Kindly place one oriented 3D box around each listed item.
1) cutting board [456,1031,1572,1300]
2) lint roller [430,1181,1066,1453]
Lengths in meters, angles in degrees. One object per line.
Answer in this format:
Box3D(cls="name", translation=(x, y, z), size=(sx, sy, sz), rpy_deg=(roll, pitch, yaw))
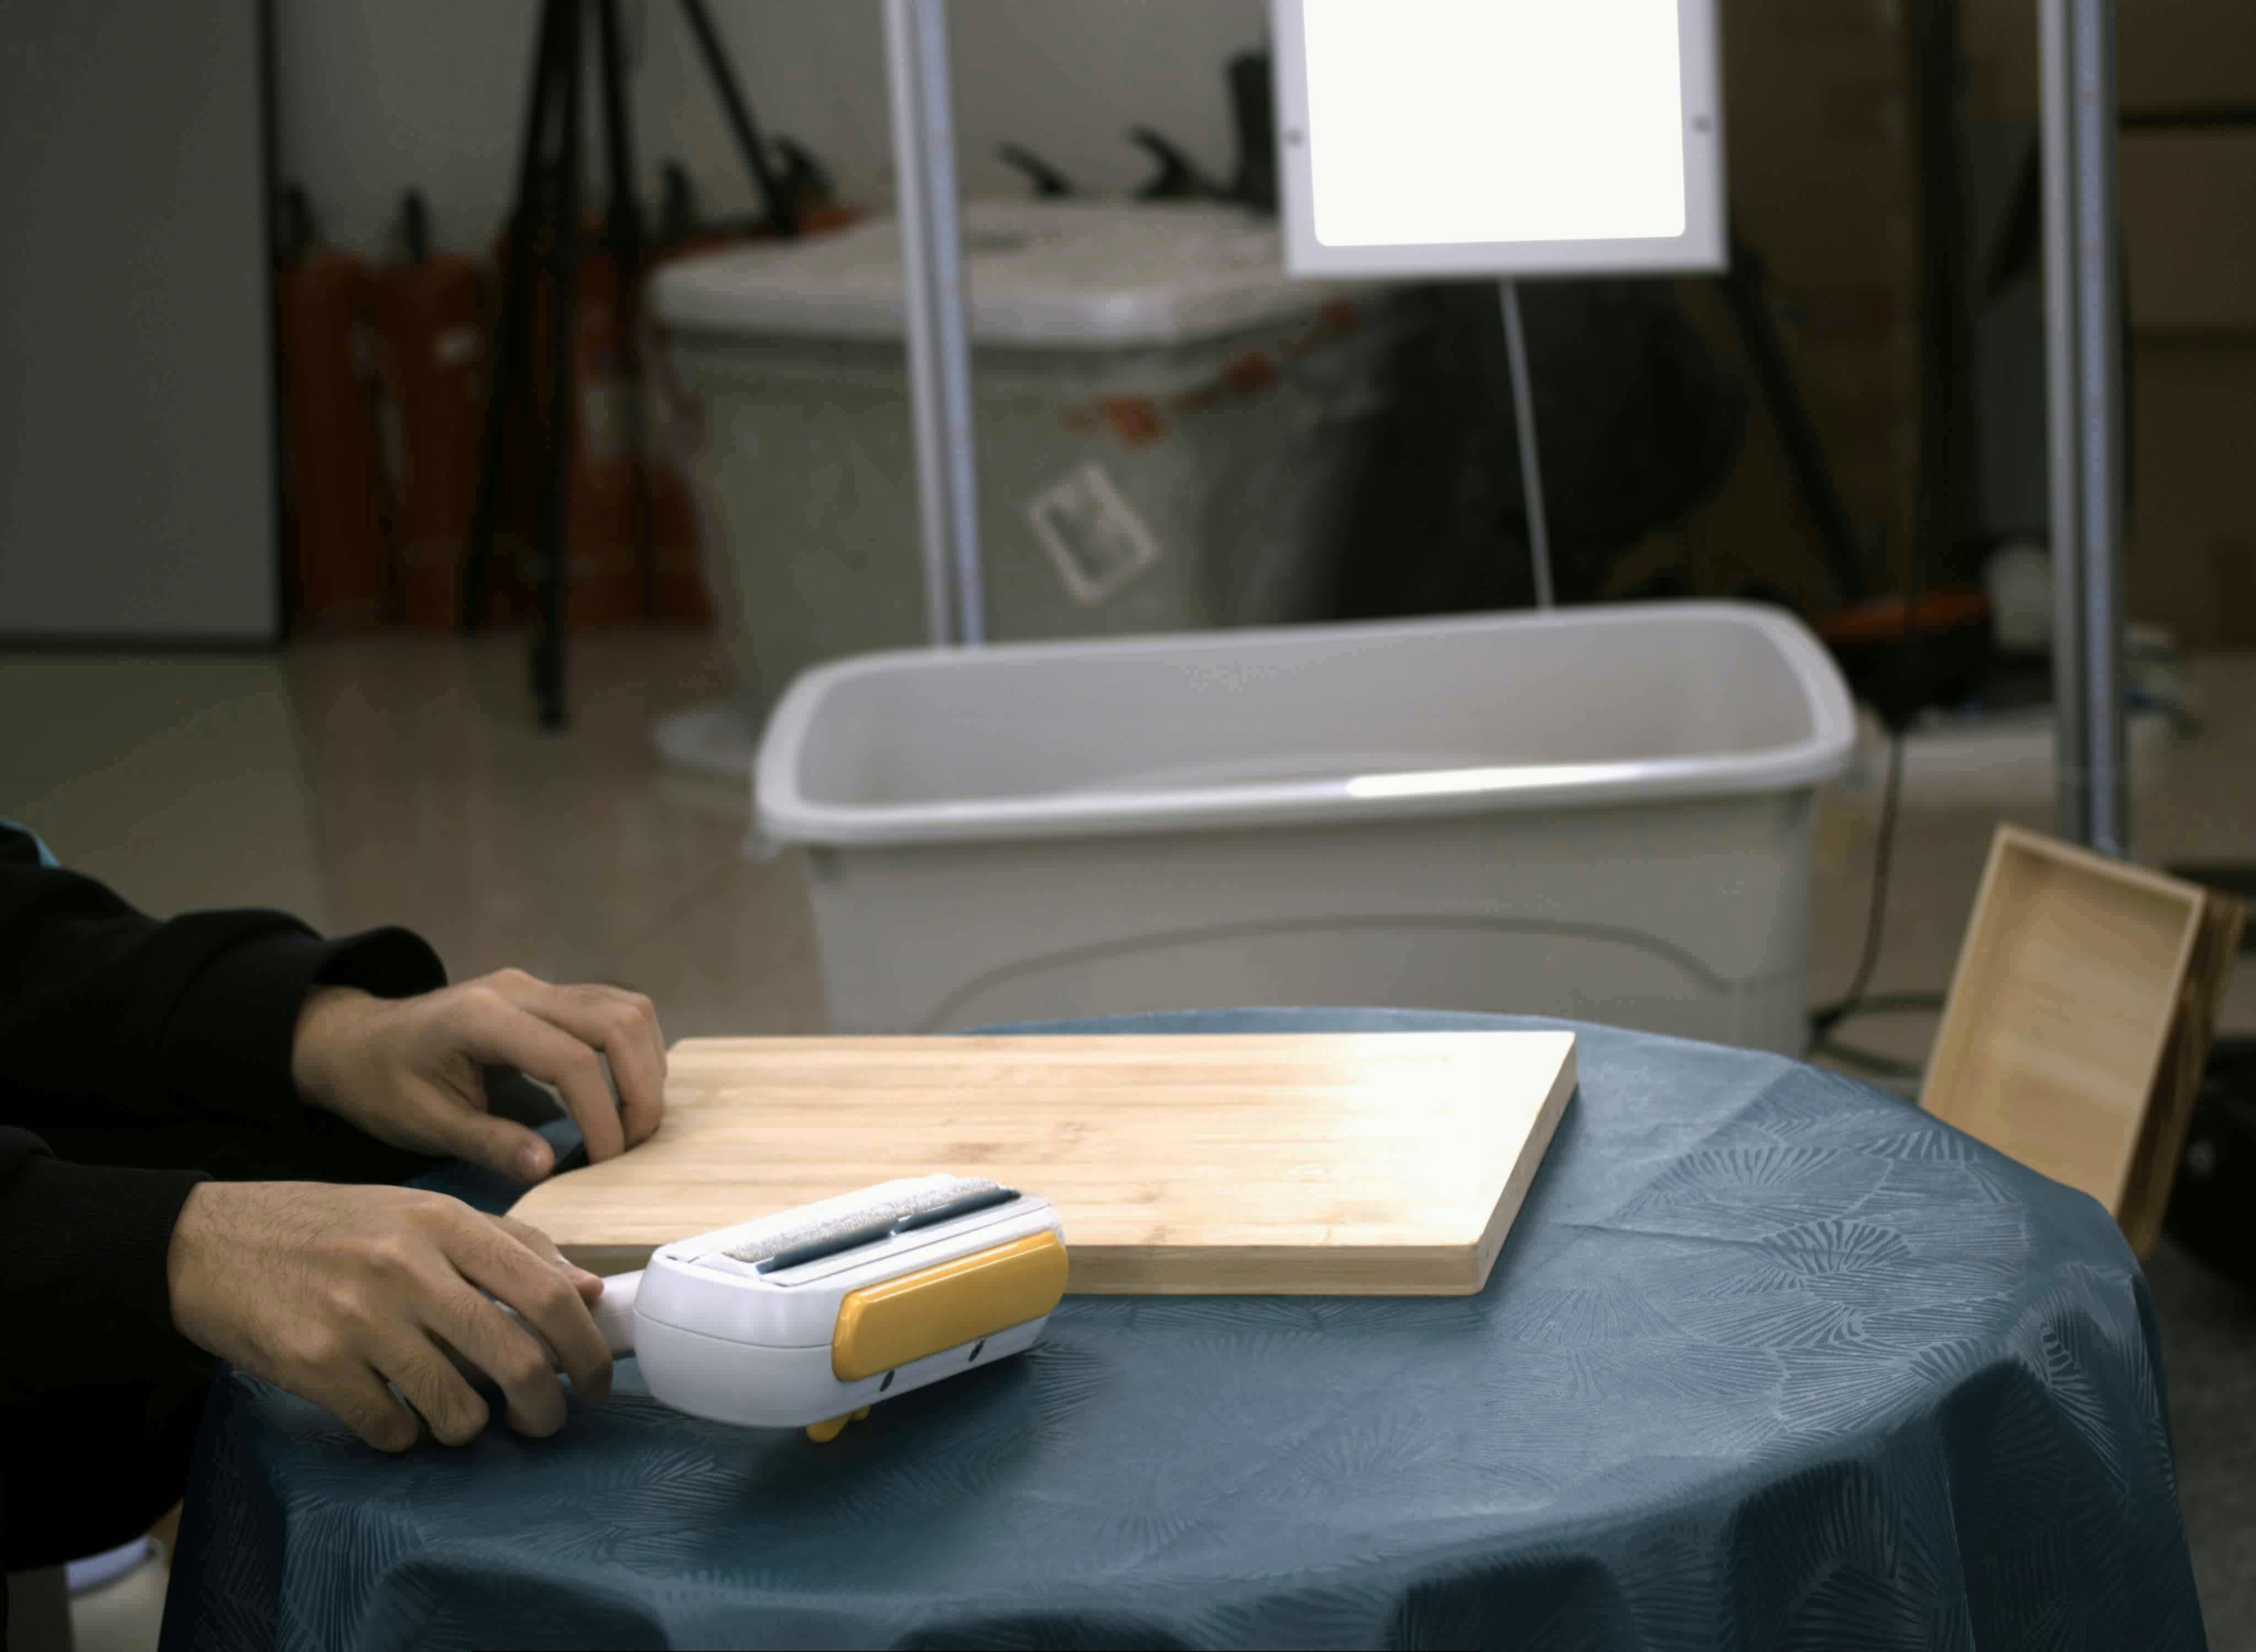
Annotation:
Box3D(cls="cutting board", translation=(-0.032, 0.117, 1.915), size=(0.352, 0.023, 0.247), rpy_deg=(-2, 14, 14))
Box3D(cls="lint roller", translation=(-0.136, 0.150, 1.708), size=(0.196, 0.074, 0.188), rpy_deg=(2, 10, 31))
